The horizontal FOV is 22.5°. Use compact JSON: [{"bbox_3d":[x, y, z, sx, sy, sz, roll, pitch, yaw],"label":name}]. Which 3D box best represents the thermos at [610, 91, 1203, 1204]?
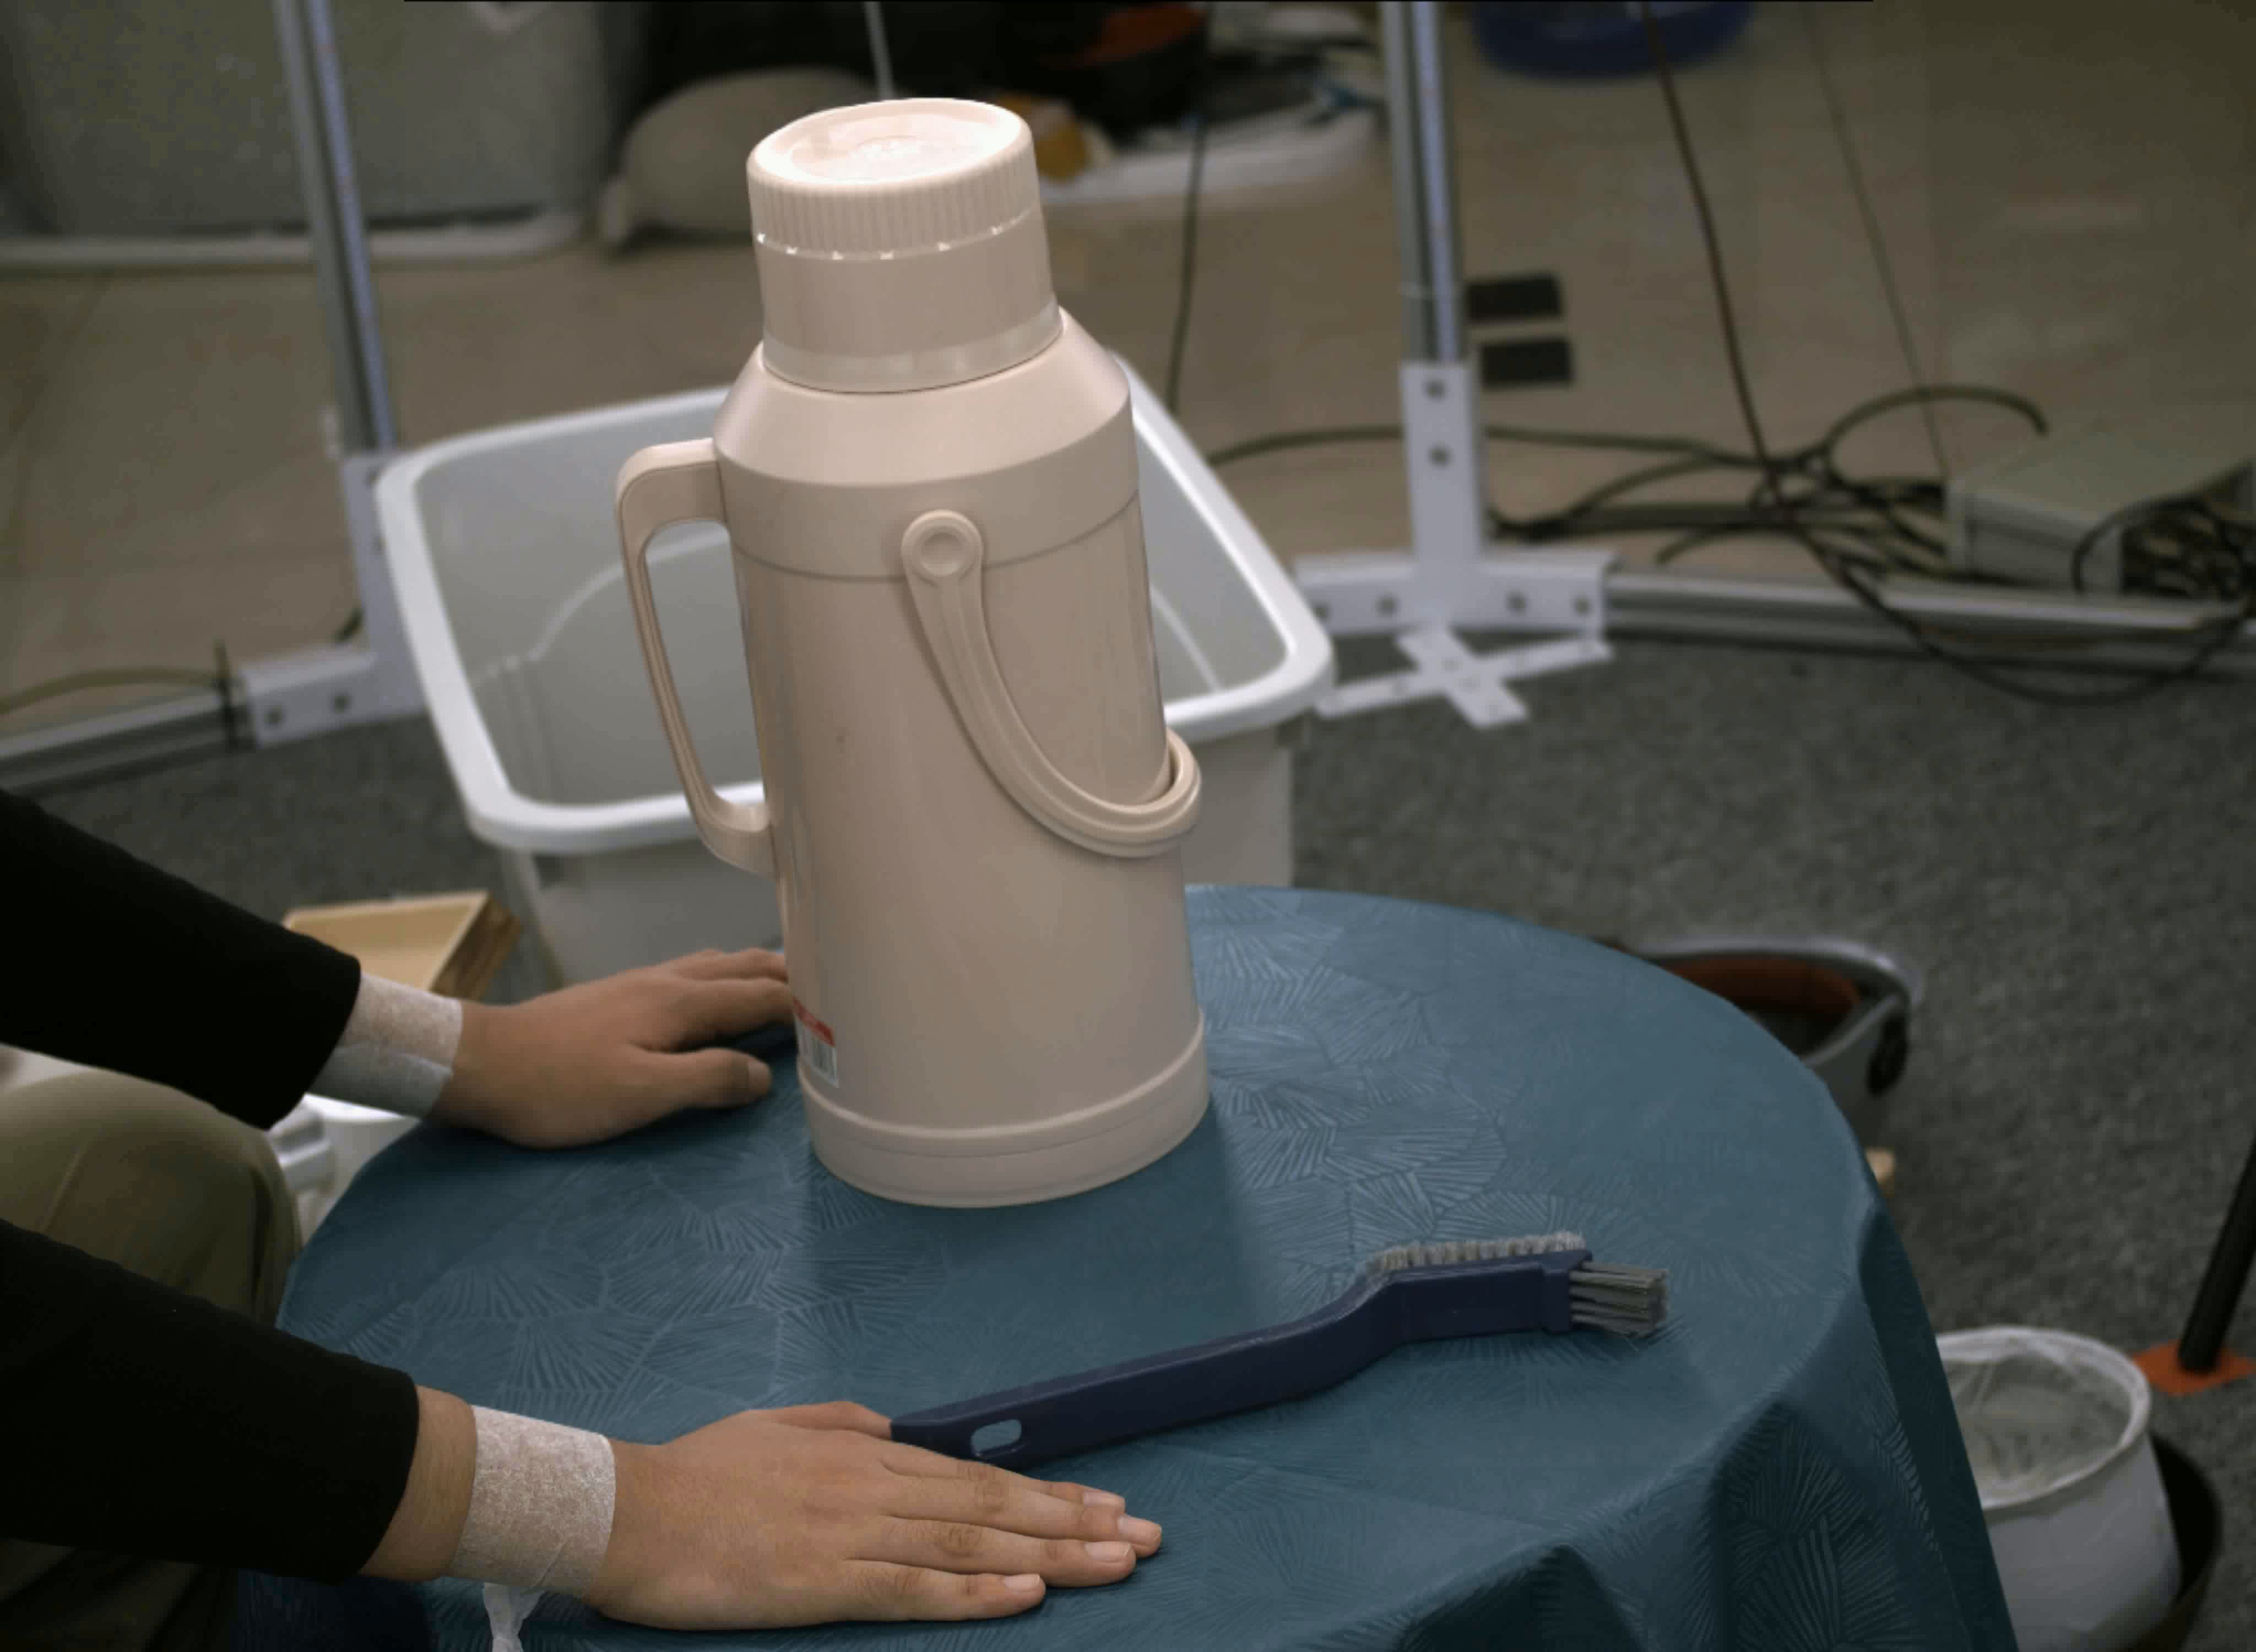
[{"bbox_3d":[-0.082,-0.066,2.132,0.206,0.413,0.172,-8,27,-3],"label":"thermos"}]

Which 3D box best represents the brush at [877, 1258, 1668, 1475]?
[{"bbox_3d":[0.049,0.190,1.987,0.272,0.034,0.094,-14,25,-21],"label":"brush"}]
